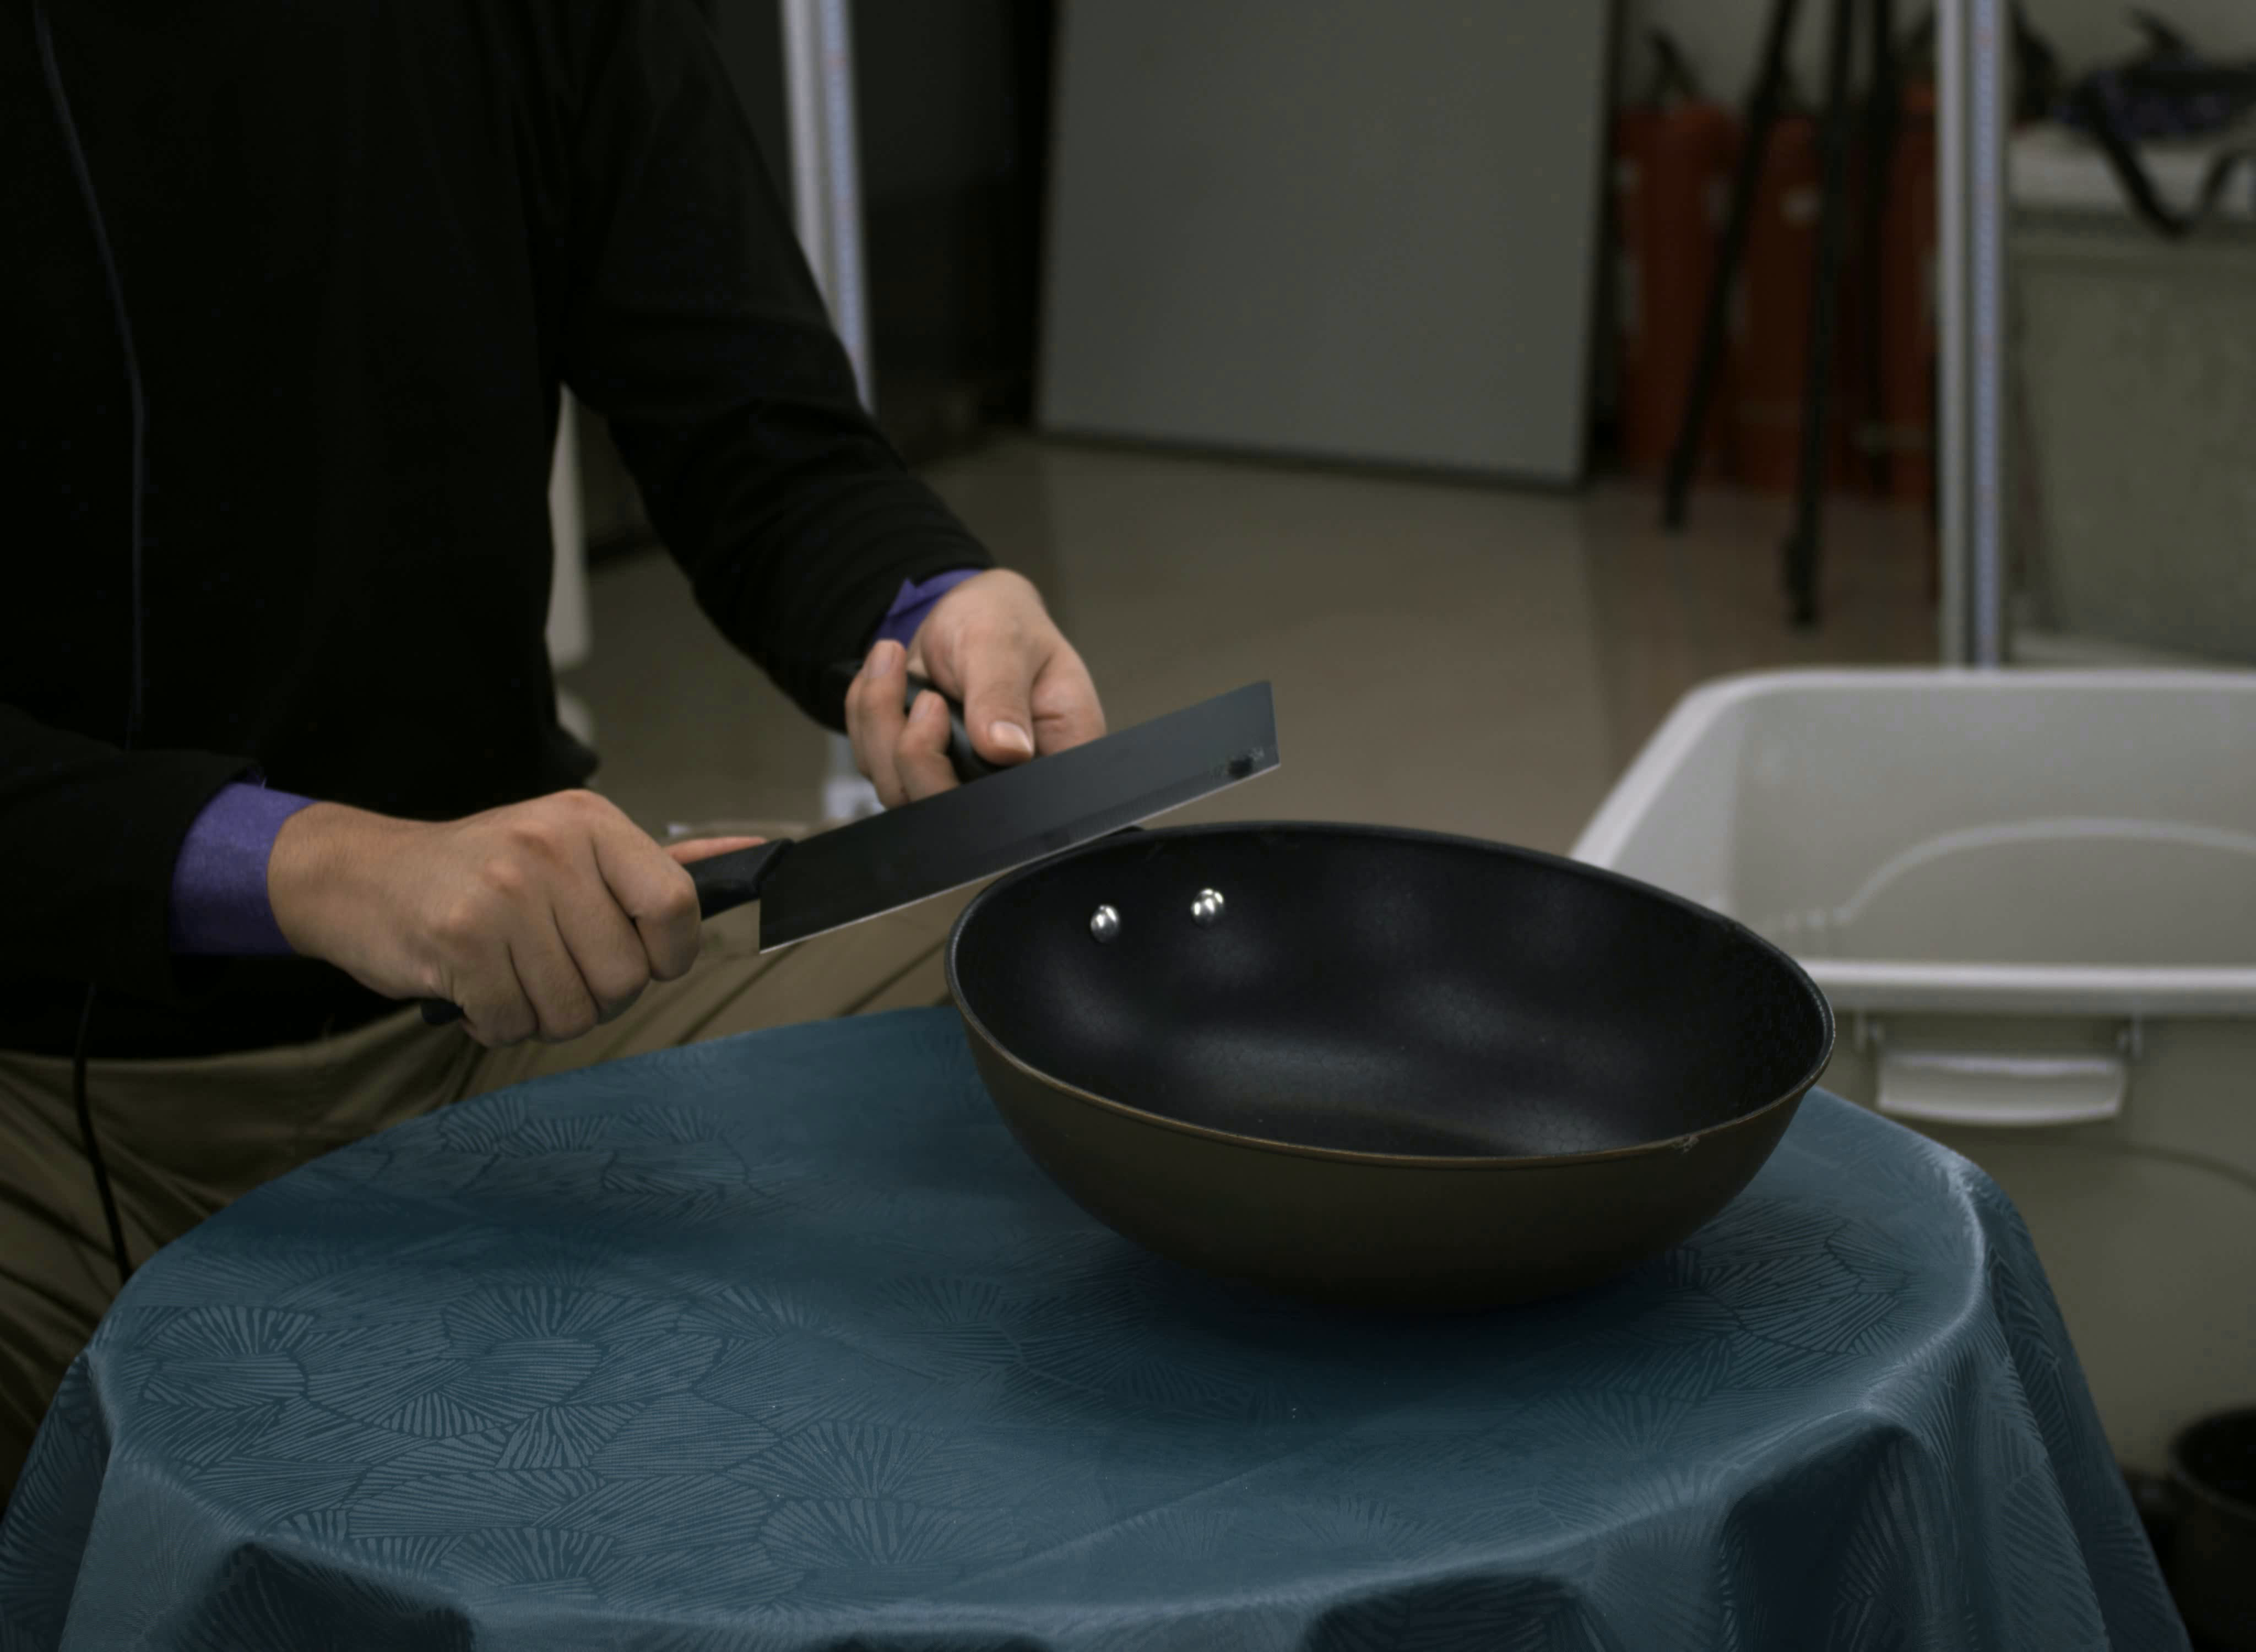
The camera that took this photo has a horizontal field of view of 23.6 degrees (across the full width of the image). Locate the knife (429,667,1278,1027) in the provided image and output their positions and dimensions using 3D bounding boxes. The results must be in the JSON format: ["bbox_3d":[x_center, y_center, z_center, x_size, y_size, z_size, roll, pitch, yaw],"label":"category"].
[{"bbox_3d":[-0.090,0.011,1.762,0.301,0.021,0.081,-18,27,14],"label":"knife"}]

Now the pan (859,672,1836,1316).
[{"bbox_3d":[0.028,0.054,1.757,0.281,0.088,0.468,-9,23,-32],"label":"pan"}]
